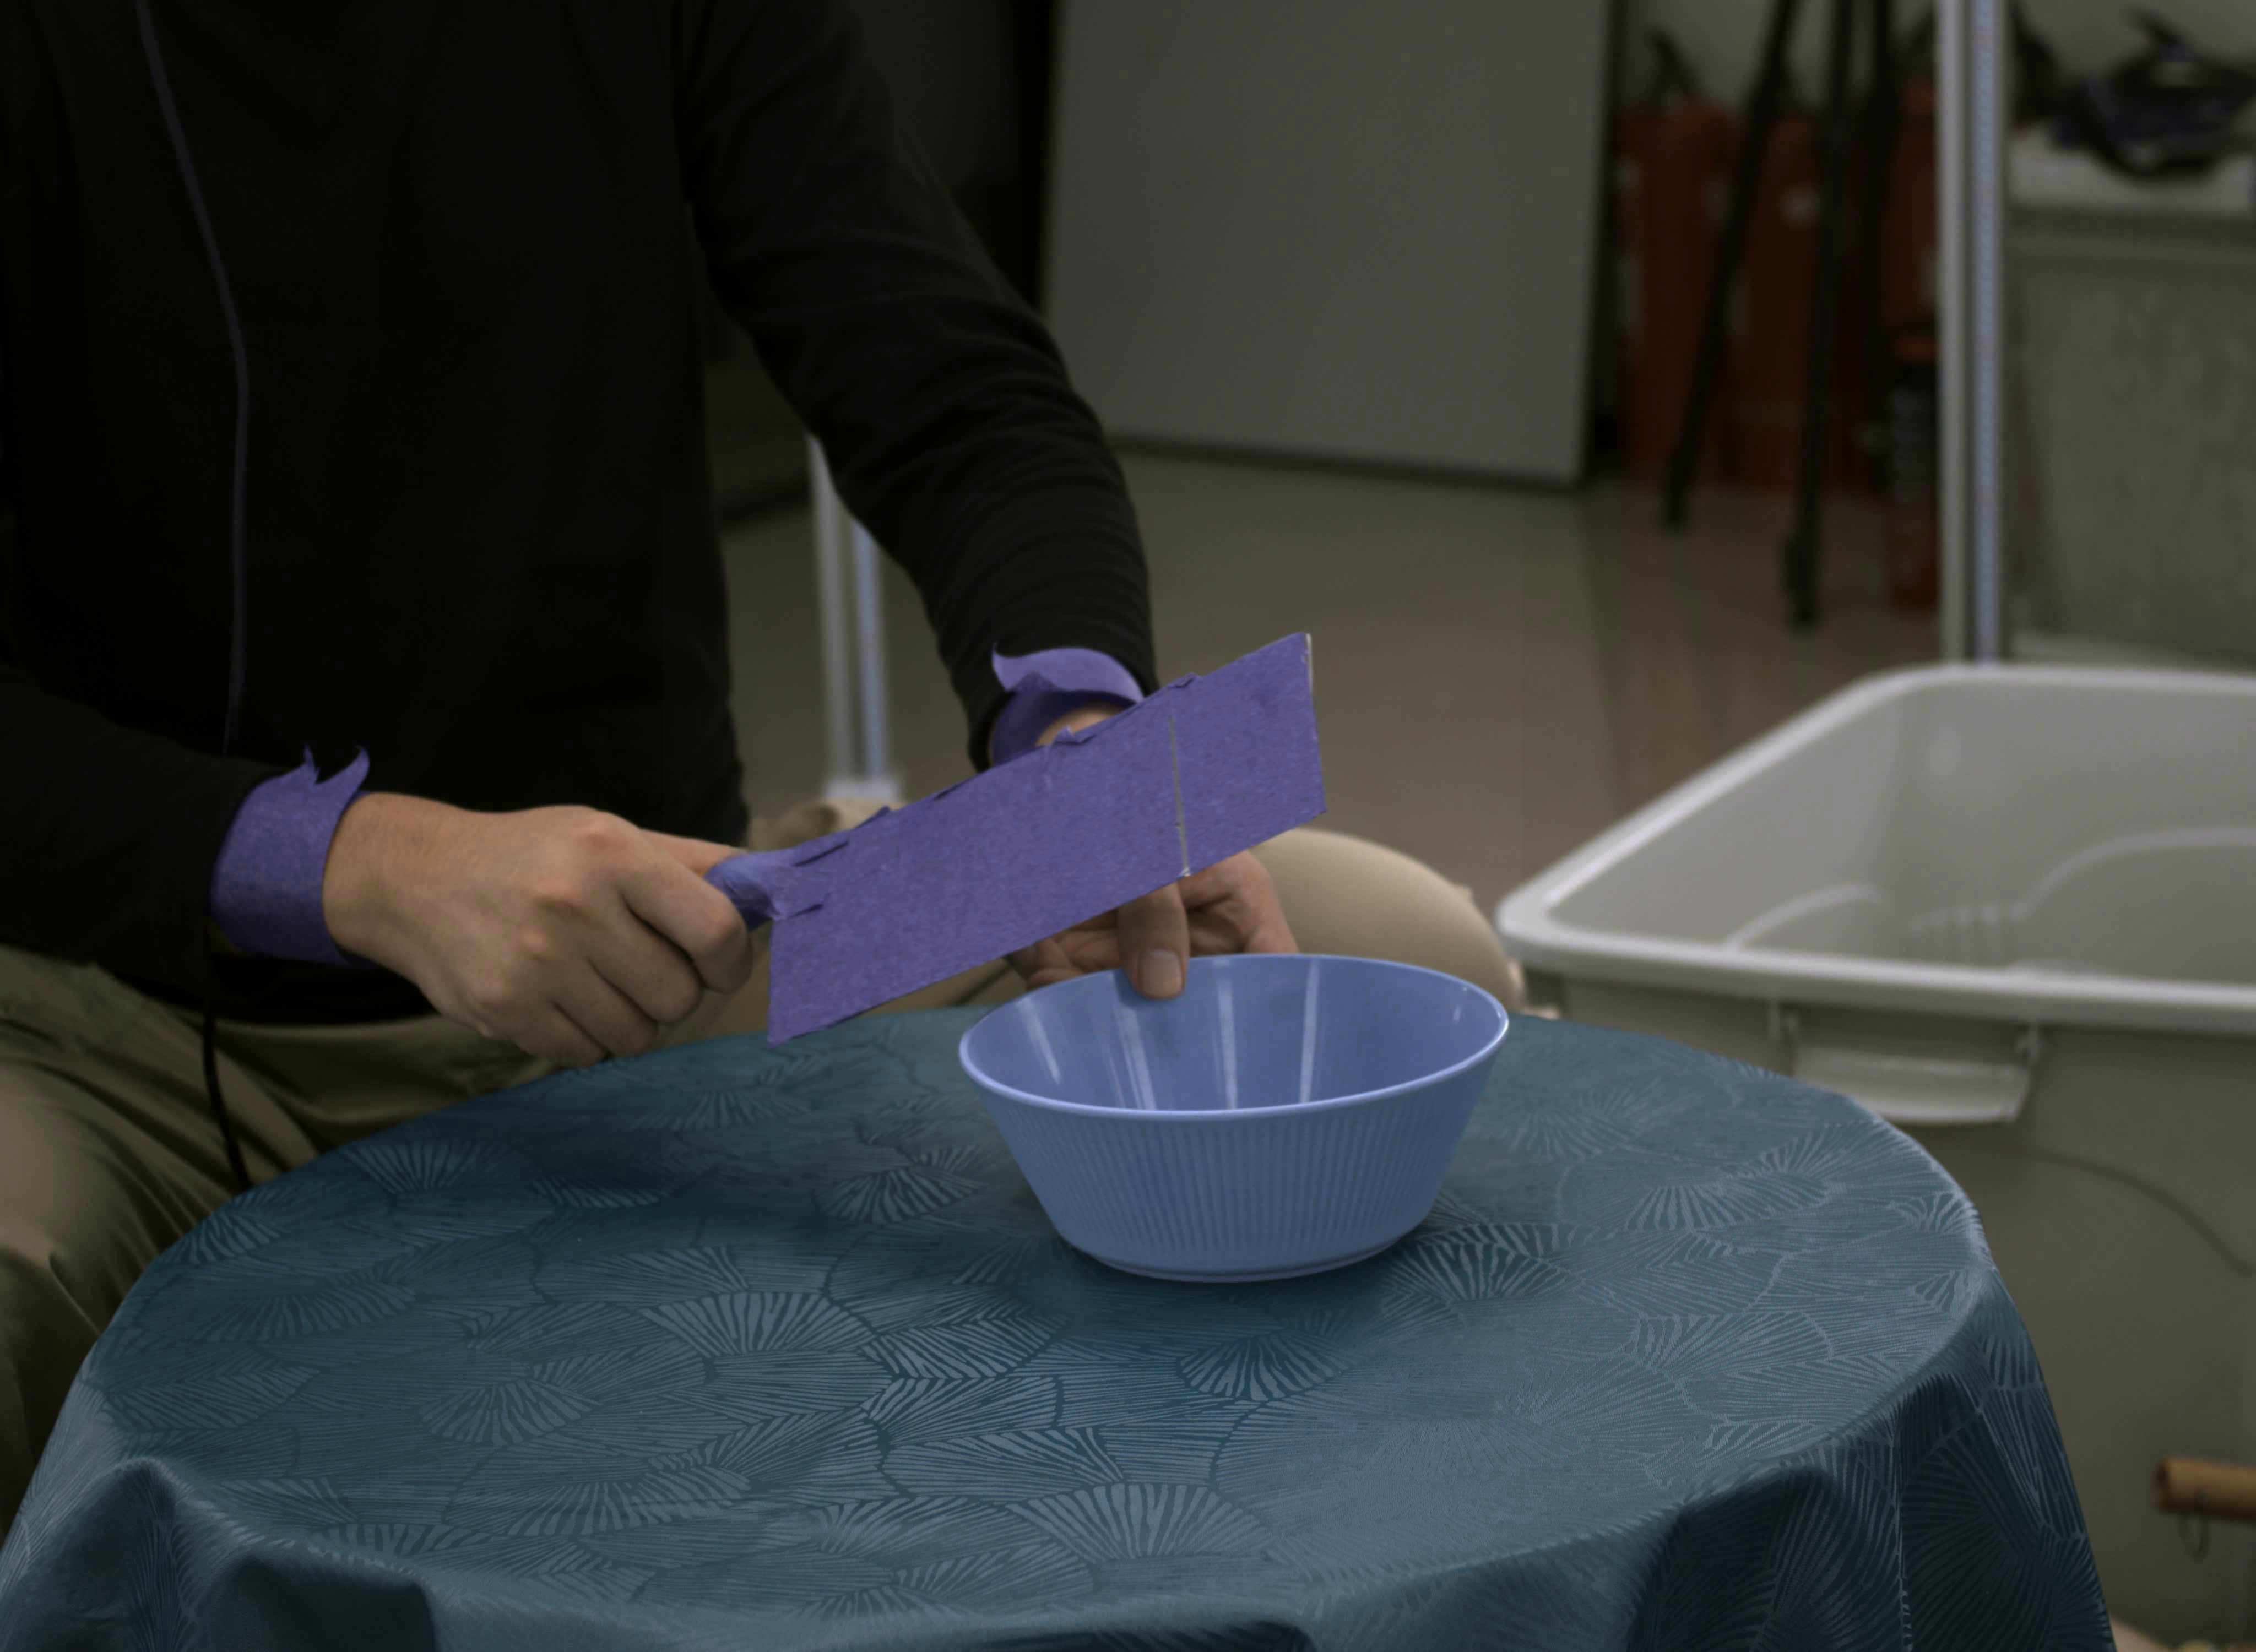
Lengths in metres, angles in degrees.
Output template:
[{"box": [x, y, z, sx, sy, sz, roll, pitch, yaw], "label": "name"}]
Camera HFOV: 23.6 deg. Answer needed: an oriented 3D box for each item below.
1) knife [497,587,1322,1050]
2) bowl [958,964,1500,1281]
[{"box": [-0.076, 0.018, 1.766, 0.316, 0.032, 0.104, -27, 37, 21], "label": "knife"}, {"box": [0.034, 0.096, 1.717, 0.174, 0.071, 0.176, -3, 12, 0], "label": "bowl"}]
